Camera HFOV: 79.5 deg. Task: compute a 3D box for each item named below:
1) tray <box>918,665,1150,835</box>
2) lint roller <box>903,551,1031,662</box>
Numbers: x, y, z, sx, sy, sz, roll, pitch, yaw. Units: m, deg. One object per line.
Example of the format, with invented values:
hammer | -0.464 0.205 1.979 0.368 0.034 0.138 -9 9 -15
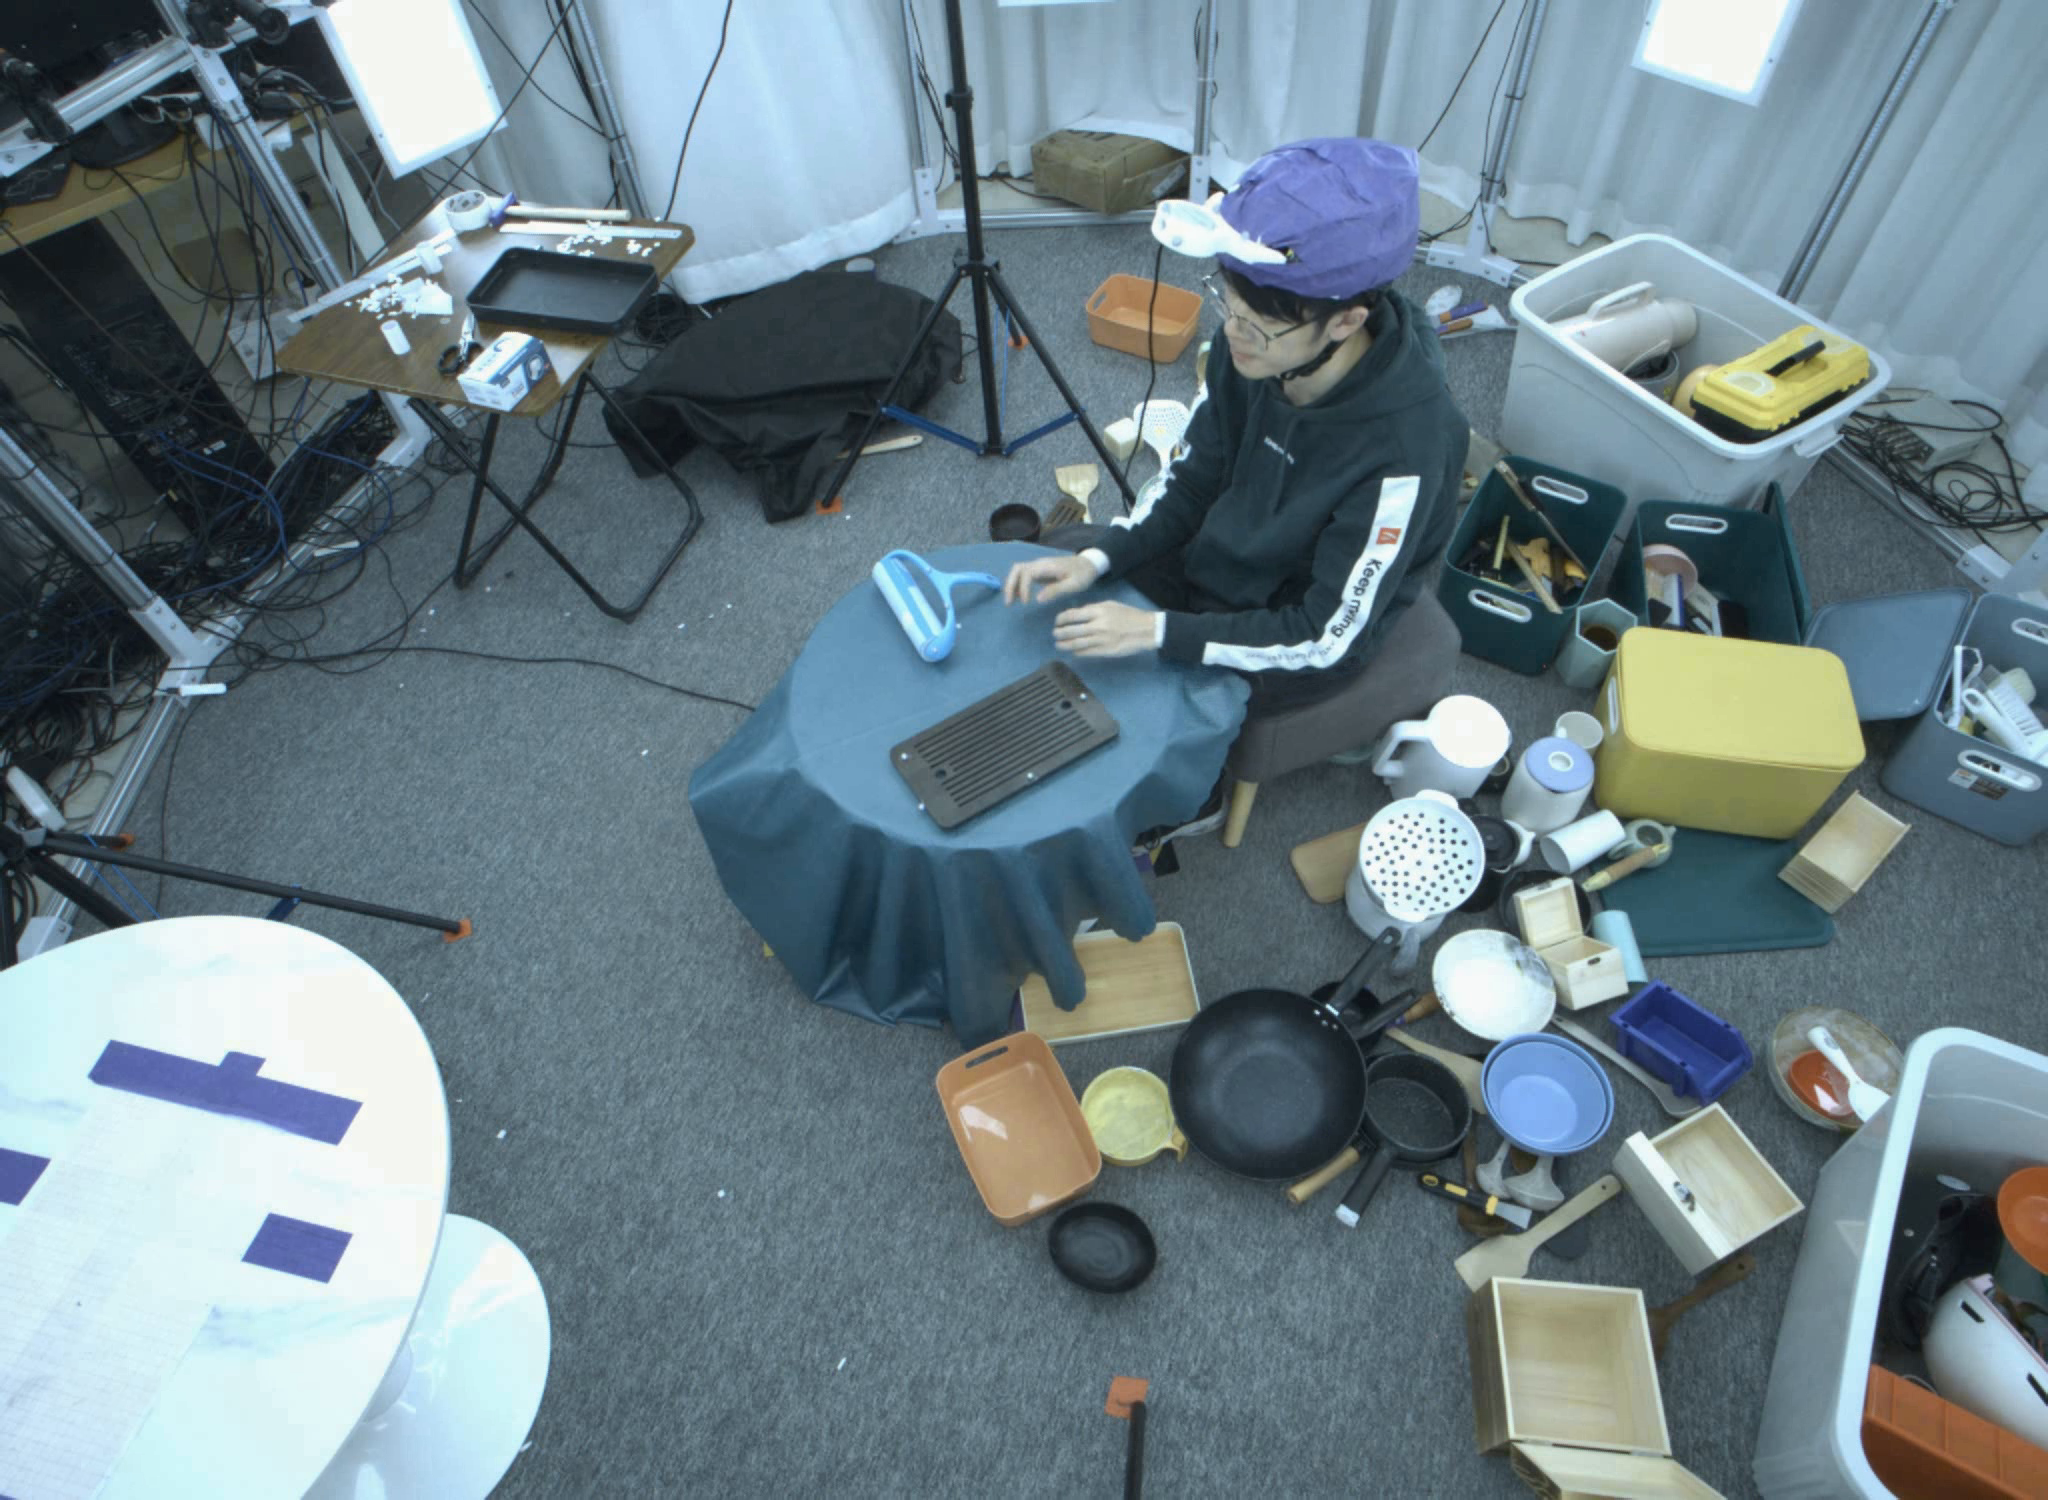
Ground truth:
tray | 0.015 -0.003 1.773 0.308 0.019 0.167 -28 58 -17
lint roller | -0.076 -0.246 1.924 0.181 0.069 0.224 -25 56 -14
